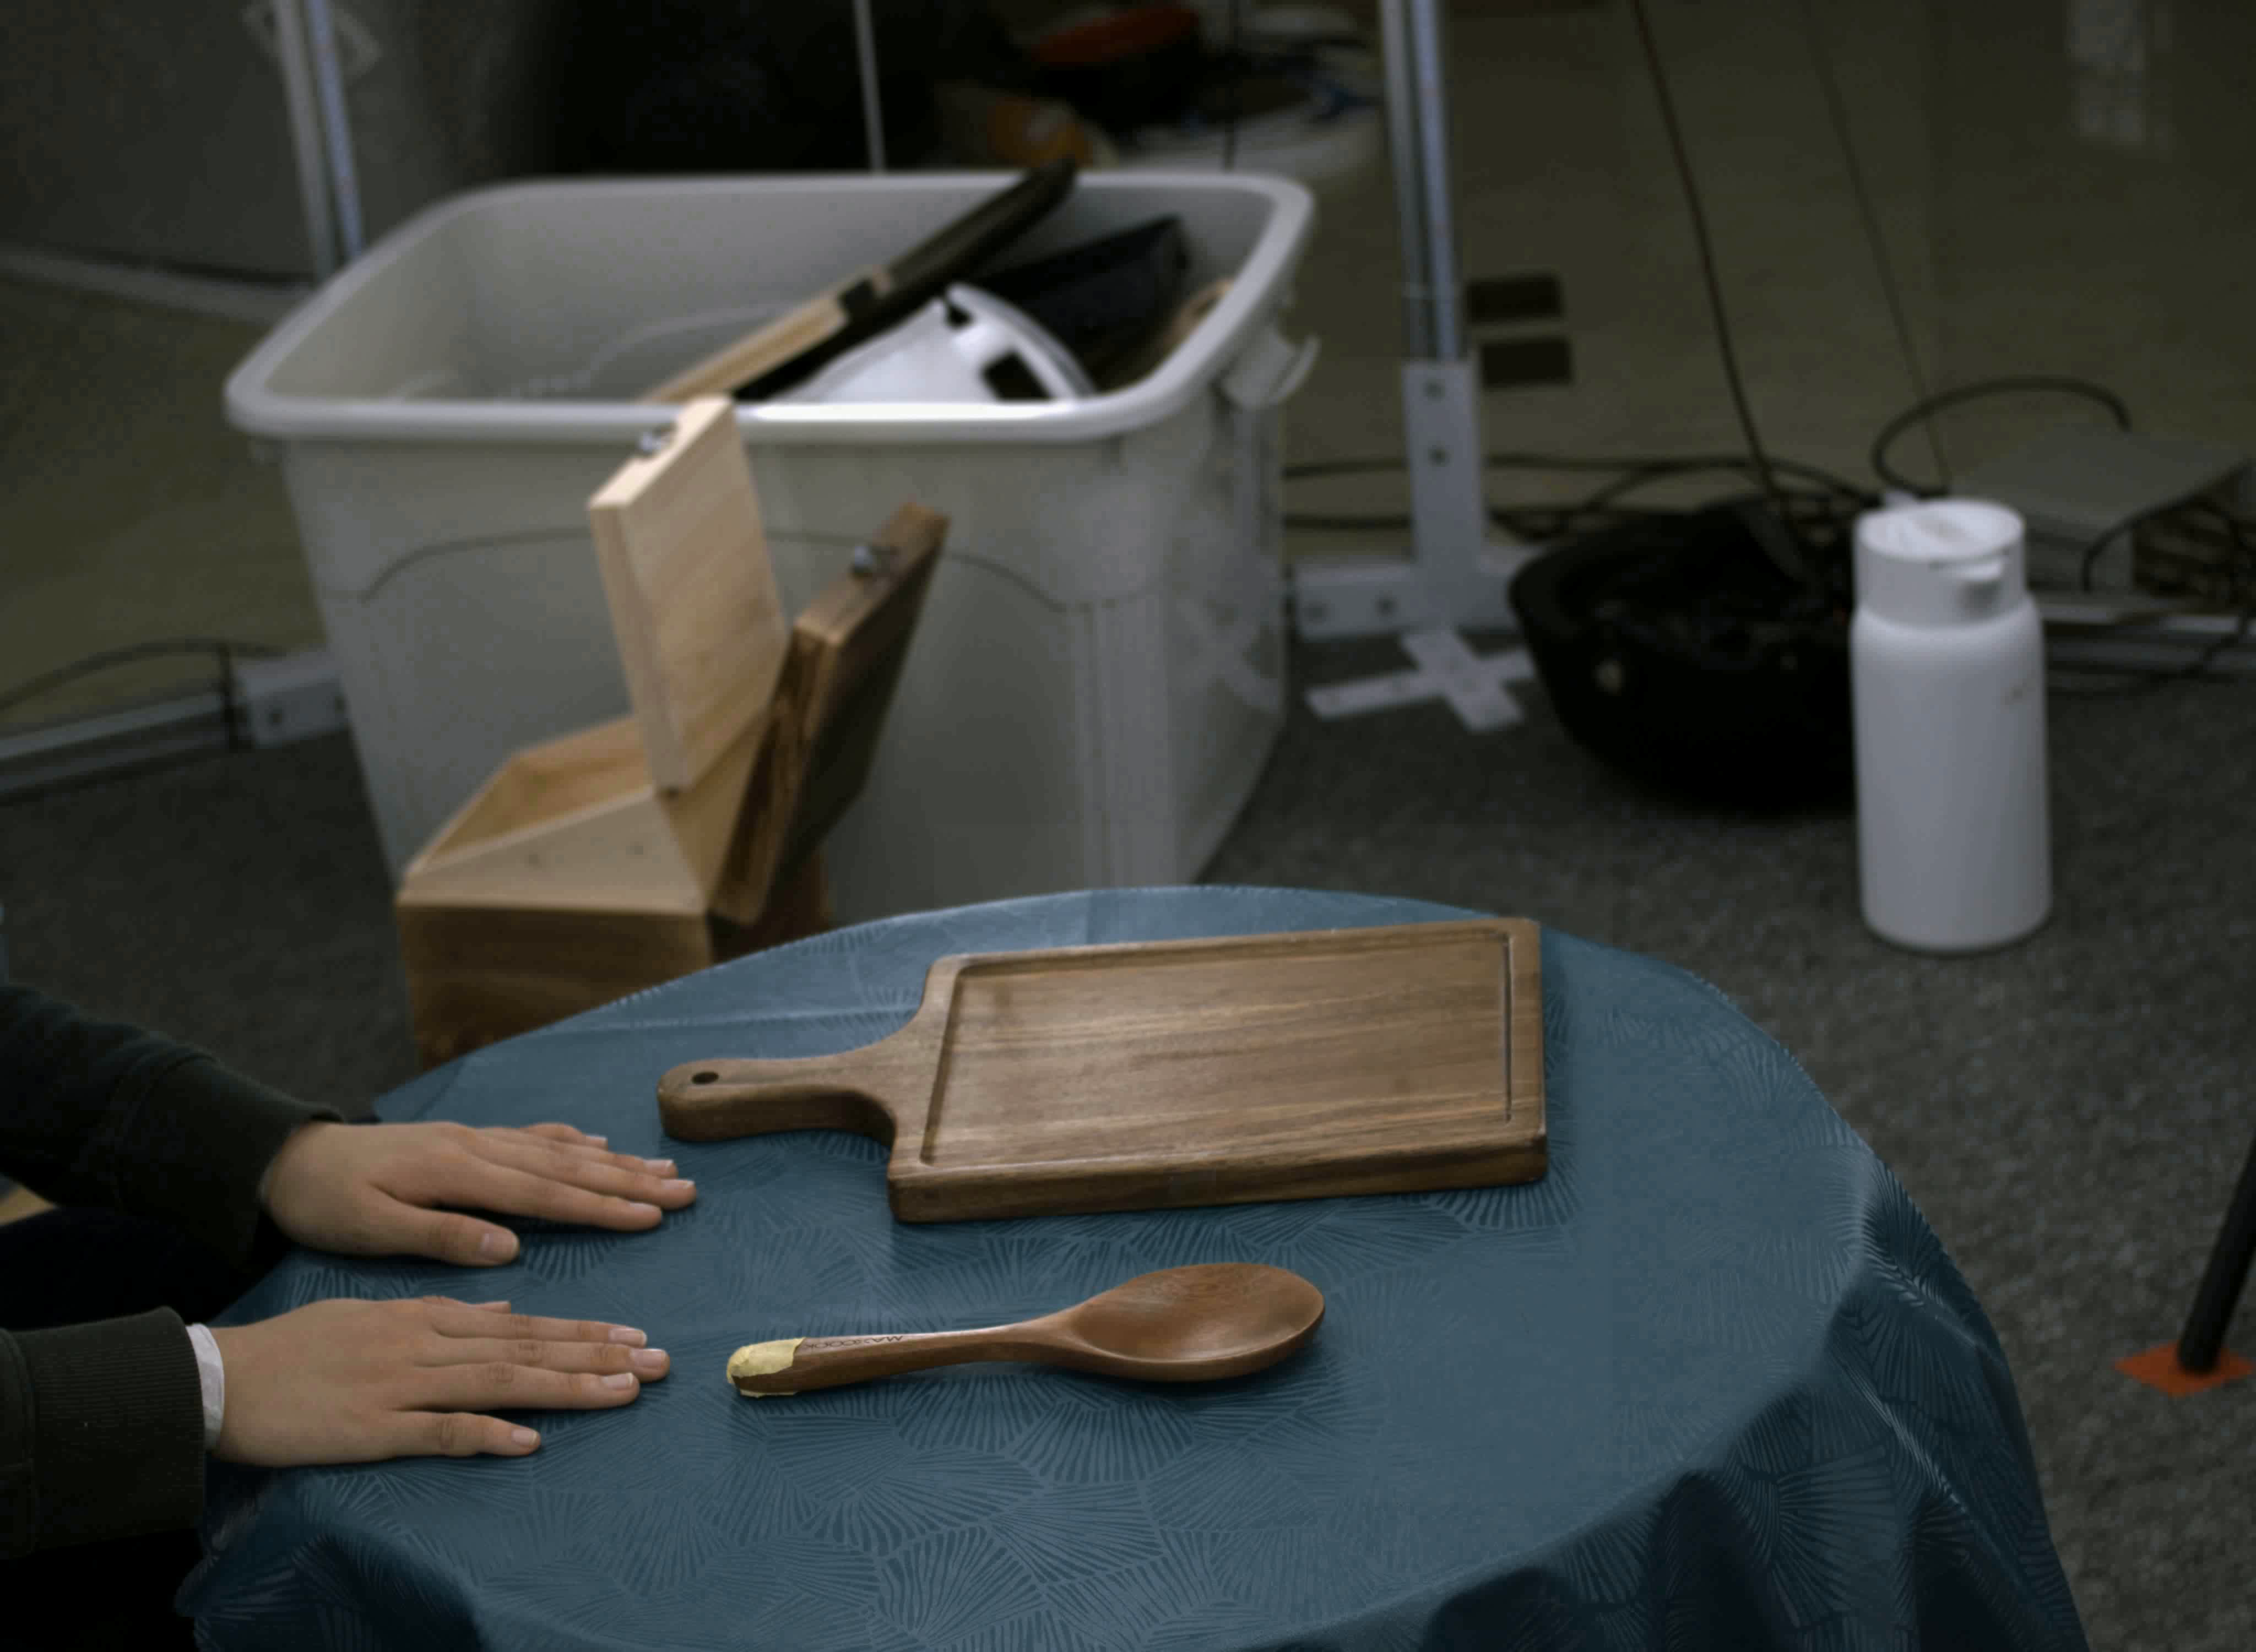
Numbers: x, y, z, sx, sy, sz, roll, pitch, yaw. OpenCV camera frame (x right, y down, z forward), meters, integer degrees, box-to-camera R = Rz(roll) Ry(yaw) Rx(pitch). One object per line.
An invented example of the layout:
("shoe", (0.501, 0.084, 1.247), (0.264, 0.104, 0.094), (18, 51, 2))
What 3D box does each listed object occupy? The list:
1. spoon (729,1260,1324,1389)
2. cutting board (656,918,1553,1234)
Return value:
("spoon", (-0.036, 0.186, 2.040), (0.215, 0.017, 0.074), (-4, 27, 3))
("cutting board", (-0.011, 0.099, 2.221), (0.351, 0.023, 0.198), (-4, 26, 5))
